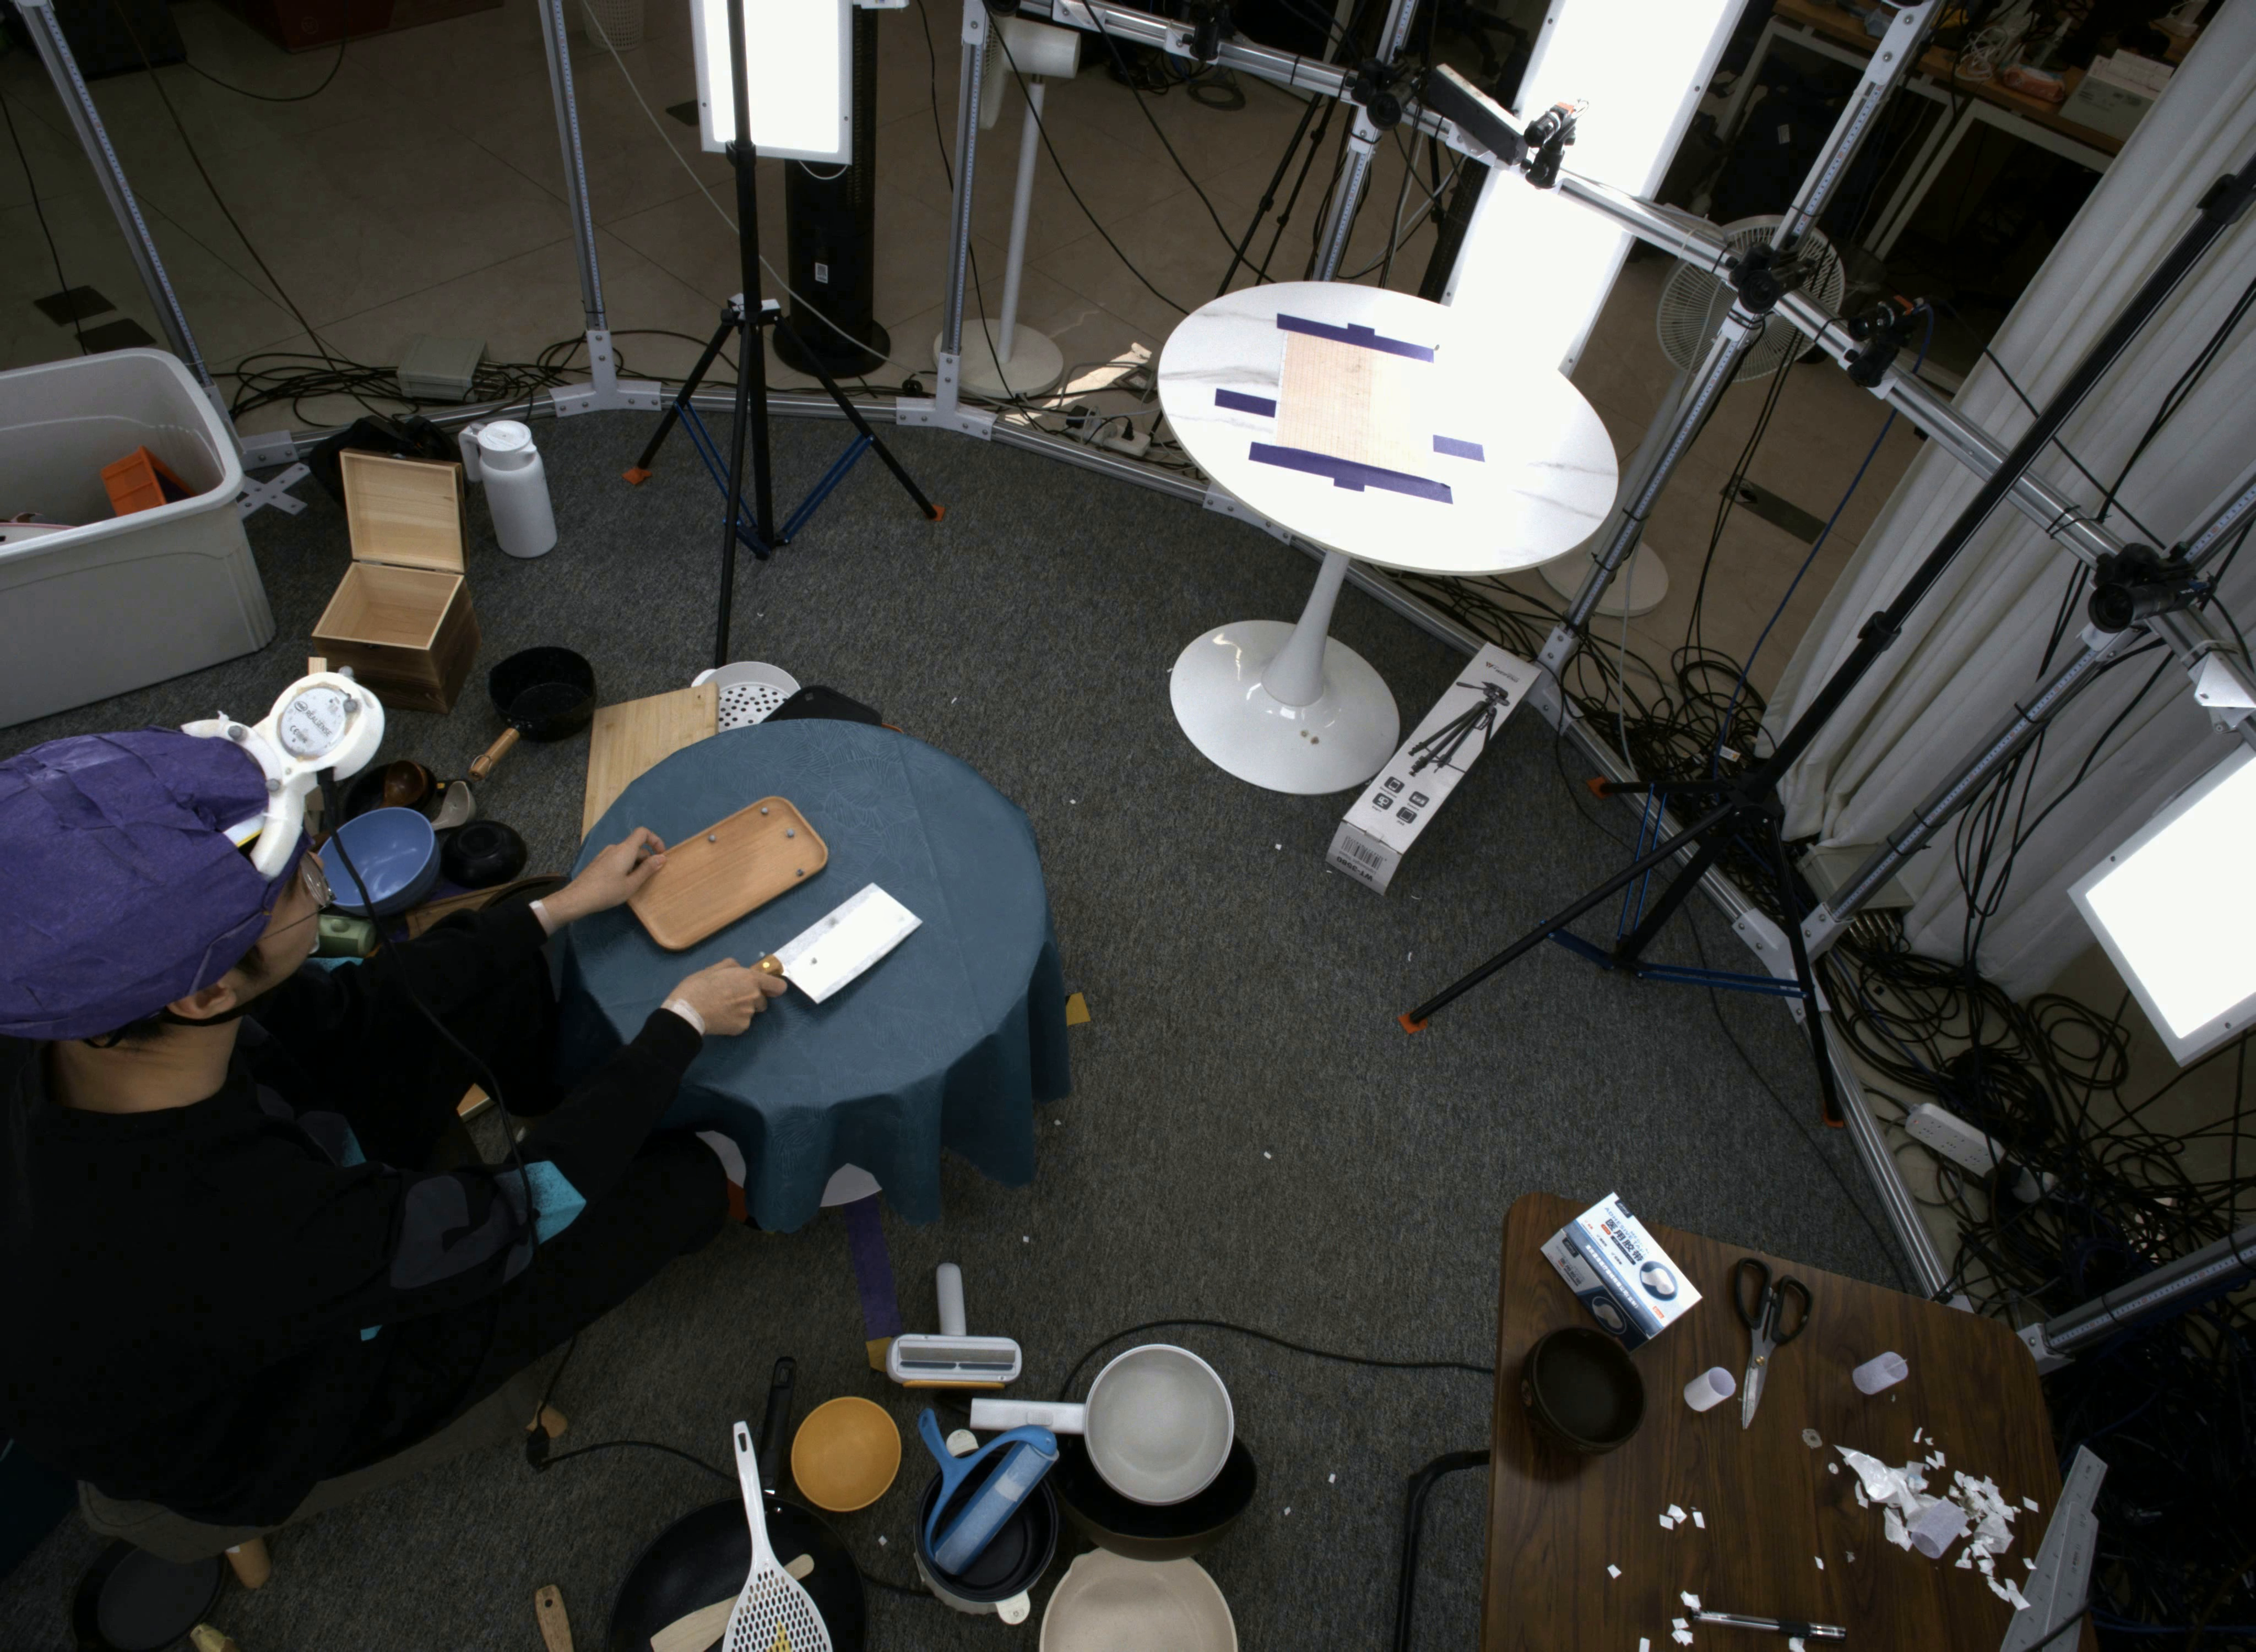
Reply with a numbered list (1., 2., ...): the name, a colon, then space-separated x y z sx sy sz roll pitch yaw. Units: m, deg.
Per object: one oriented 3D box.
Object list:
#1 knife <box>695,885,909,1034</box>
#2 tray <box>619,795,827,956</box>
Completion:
1. knife: -0.382 0.166 1.568 0.091 0.021 0.306 37 44 13
2. tray: -0.508 0.058 1.625 0.251 0.023 0.129 -33 76 -32
